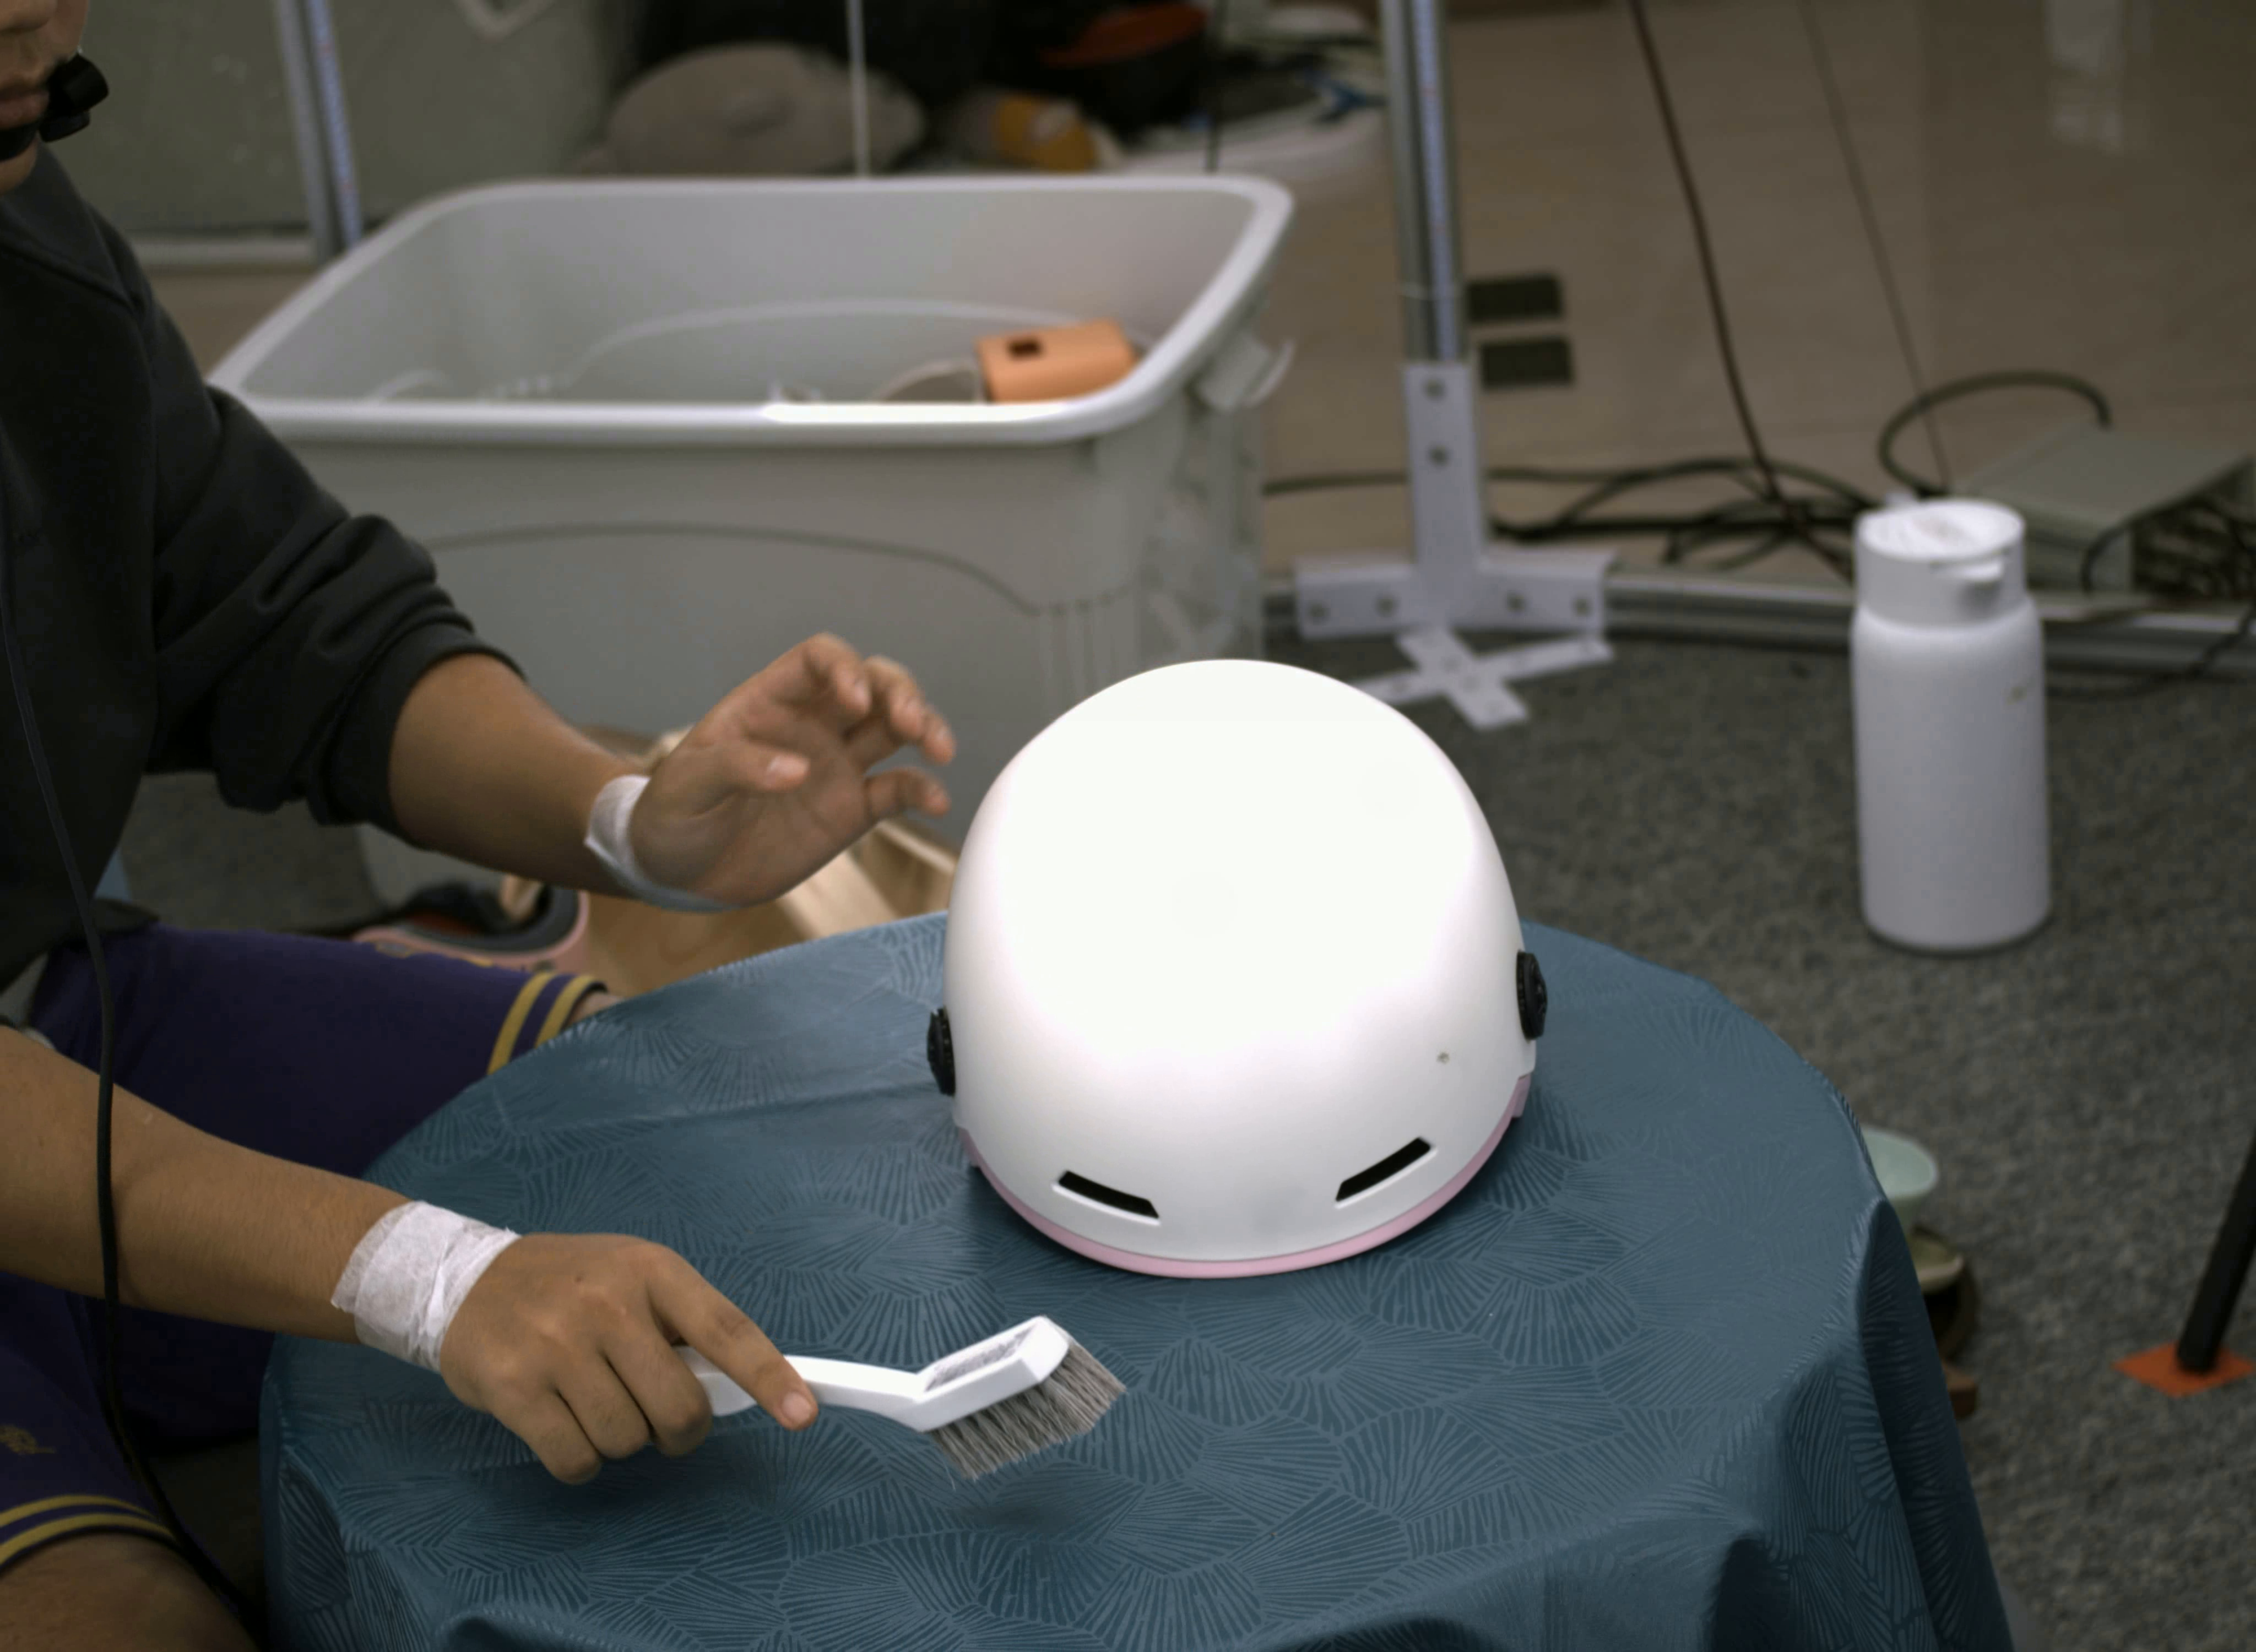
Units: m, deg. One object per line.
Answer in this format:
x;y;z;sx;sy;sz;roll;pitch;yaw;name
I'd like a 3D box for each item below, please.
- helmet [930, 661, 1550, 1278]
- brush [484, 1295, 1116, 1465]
0.040;0.036;2.161;0.237;0.170;0.264;-4;26;4;helmet
-0.115;0.200;1.965;0.244;0.051;0.034;-9;24;29;brush
